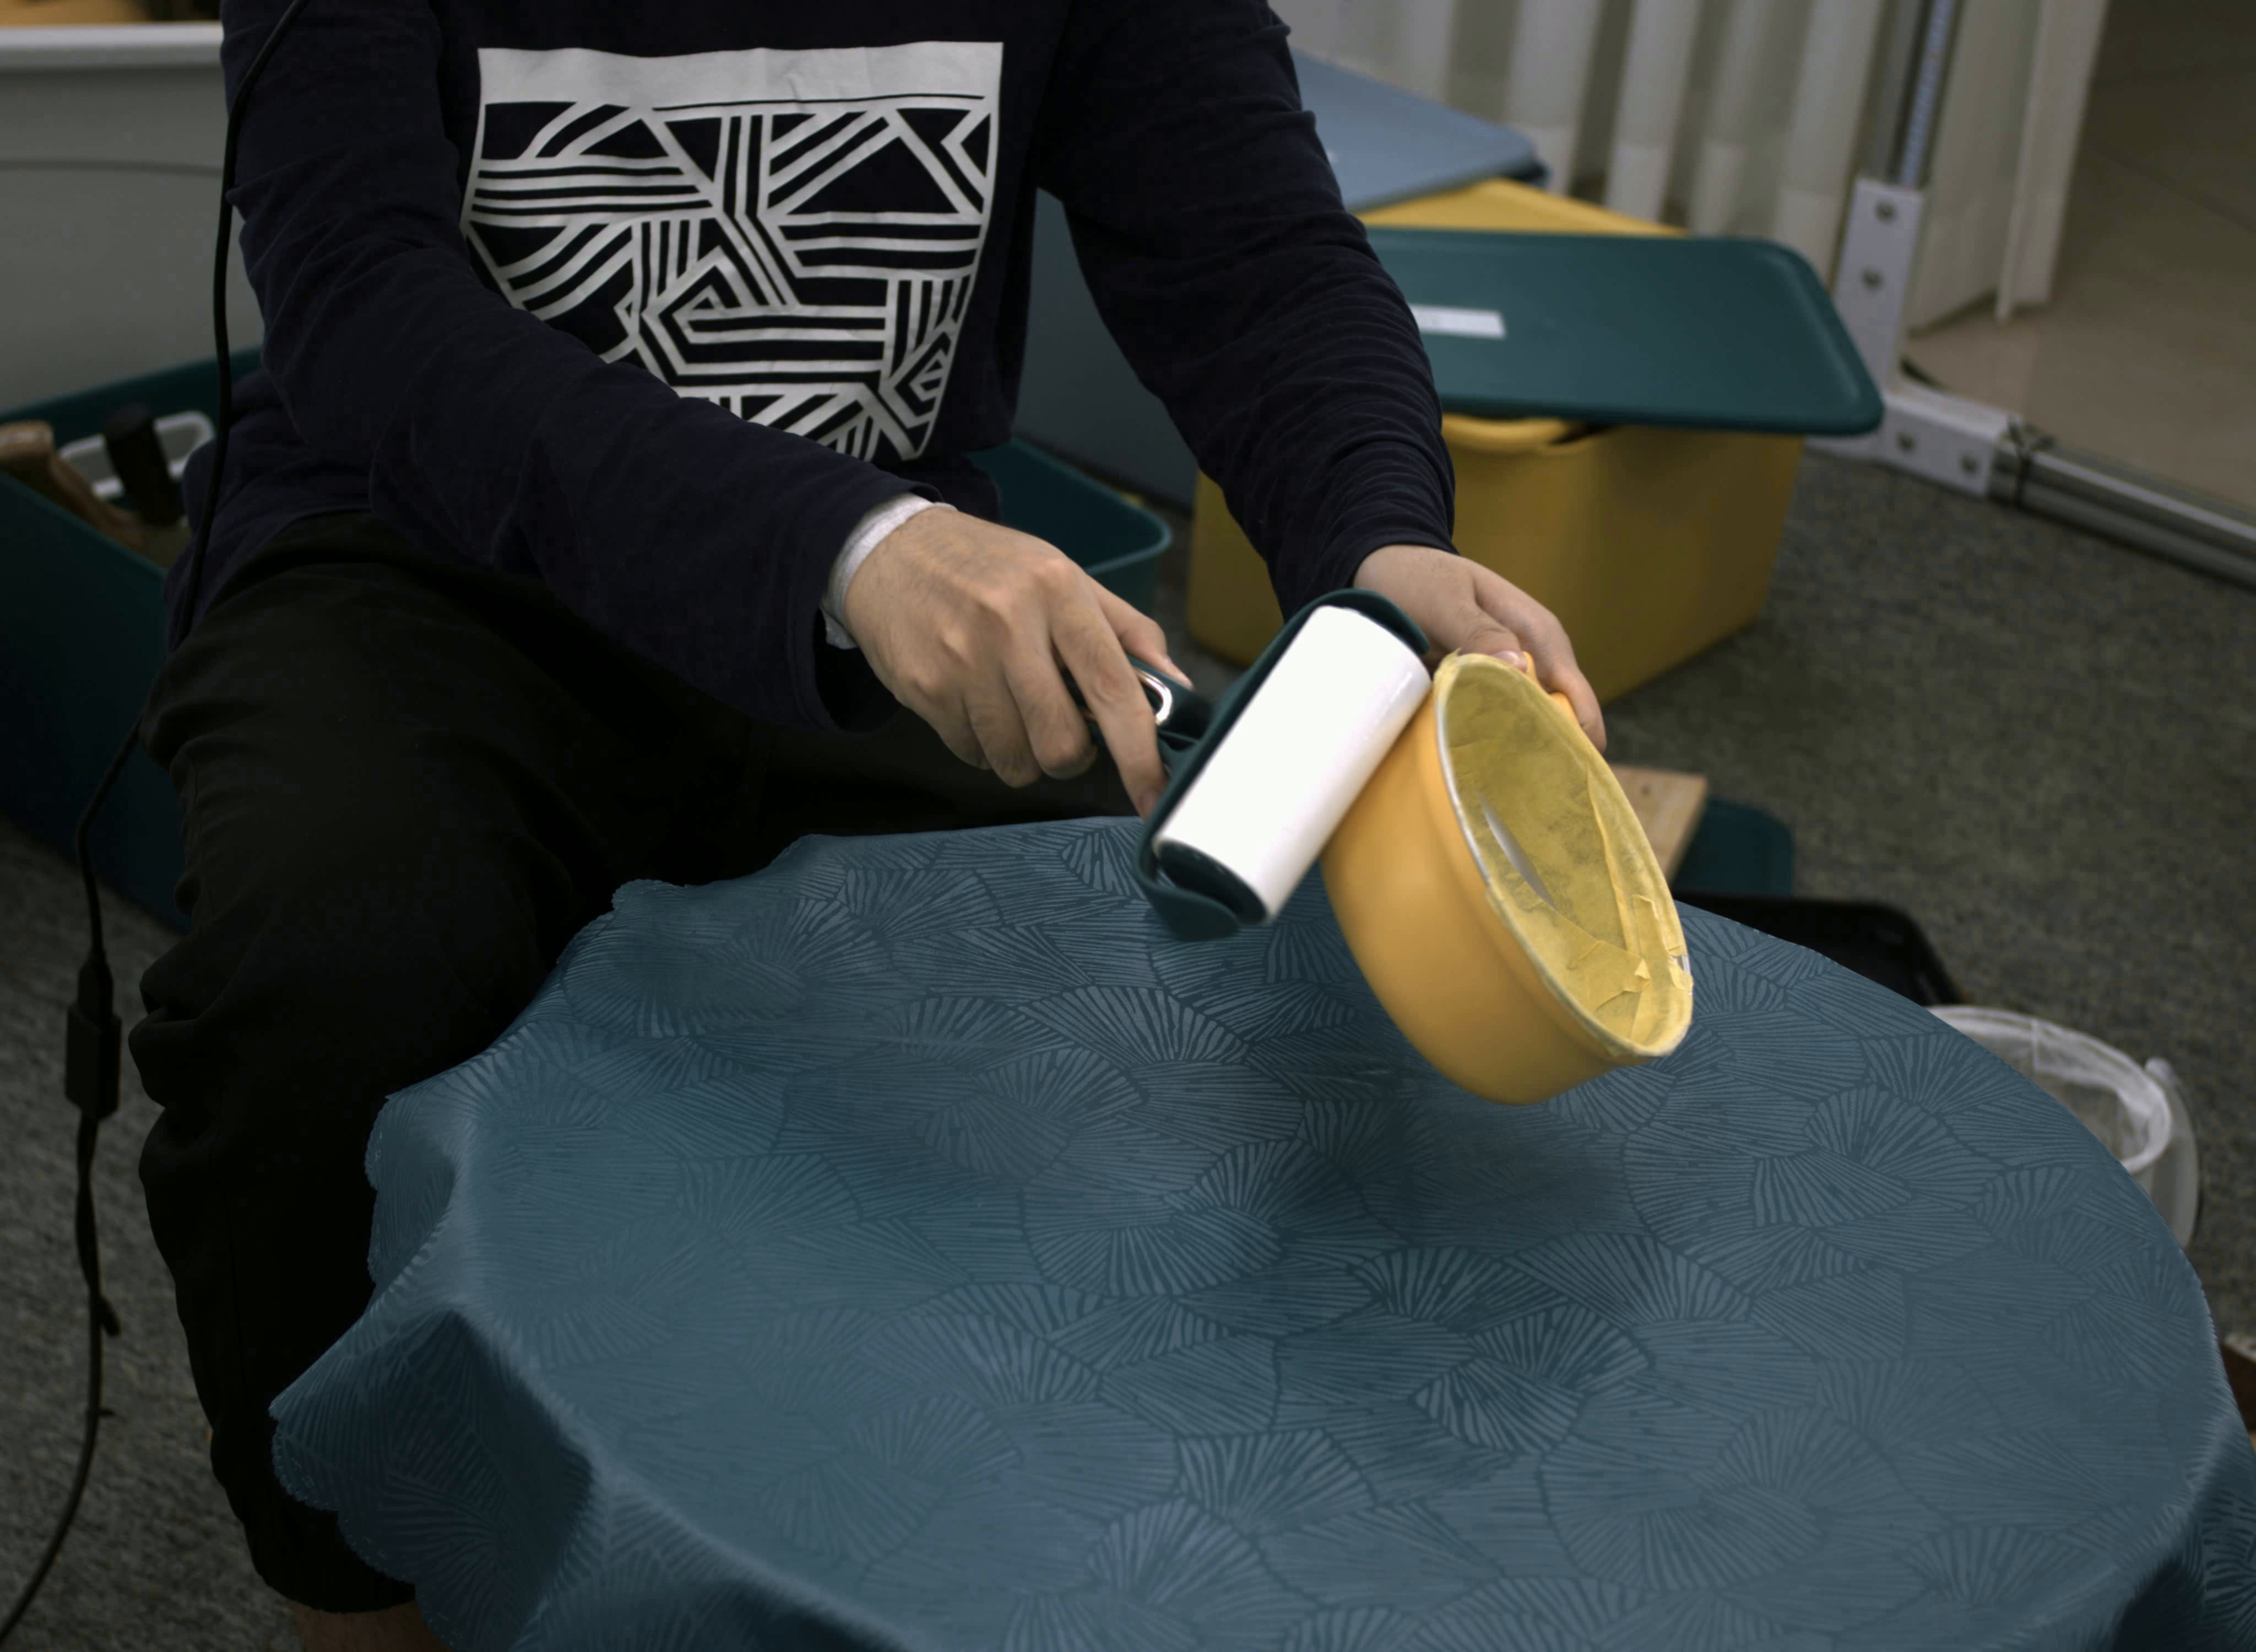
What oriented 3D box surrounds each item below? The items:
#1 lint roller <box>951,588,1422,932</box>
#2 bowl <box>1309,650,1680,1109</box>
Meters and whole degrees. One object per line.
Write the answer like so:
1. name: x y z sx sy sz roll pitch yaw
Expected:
1. lint roller: 0.001 -0.042 1.798 0.181 0.048 0.134 22 65 36
2. bowl: 0.122 0.015 1.827 0.151 0.074 0.181 40 31 -34
